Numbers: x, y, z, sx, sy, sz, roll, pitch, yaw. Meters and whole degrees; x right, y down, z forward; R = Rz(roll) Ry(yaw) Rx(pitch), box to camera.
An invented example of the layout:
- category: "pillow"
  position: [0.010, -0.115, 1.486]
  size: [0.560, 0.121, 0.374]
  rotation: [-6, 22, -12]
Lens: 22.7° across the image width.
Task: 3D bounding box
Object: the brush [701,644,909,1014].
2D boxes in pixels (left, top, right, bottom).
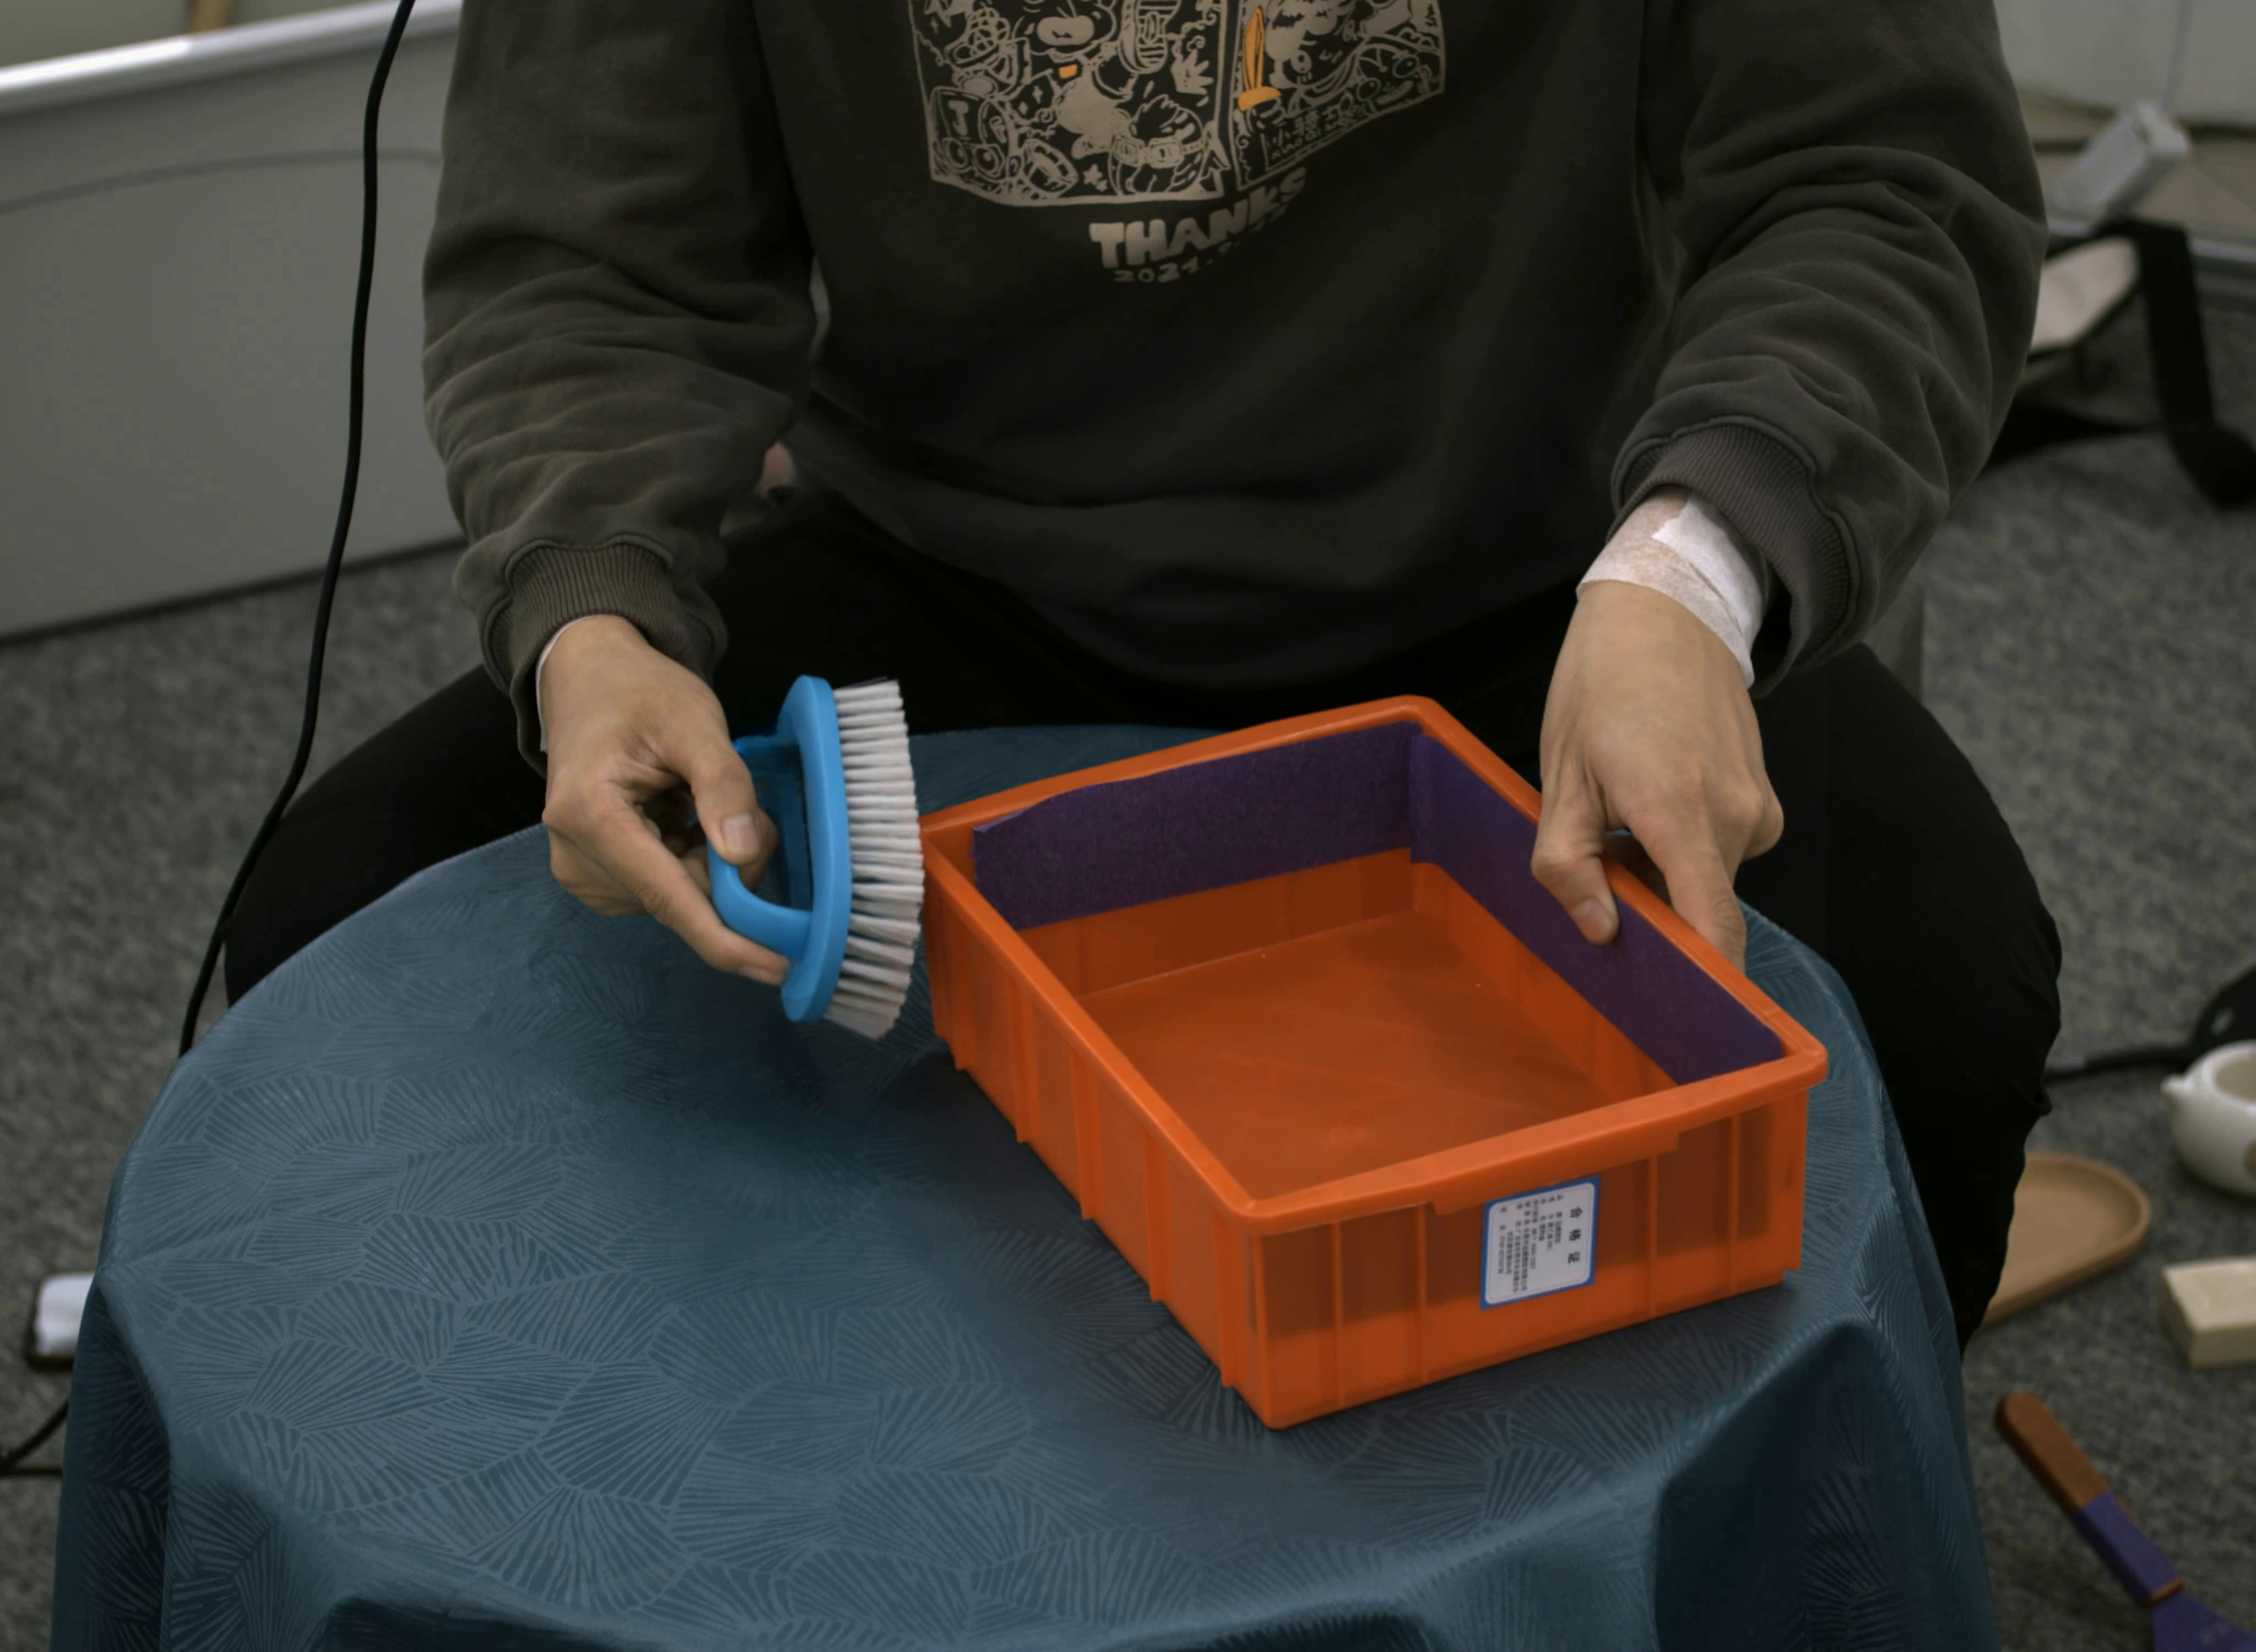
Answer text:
- category: "brush"
  position: [-0.113, 0.002, 1.913]
  size: [0.063, 0.083, 0.144]
  rotation: [4, 48, -13]

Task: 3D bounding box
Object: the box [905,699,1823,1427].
- category: "box"
  position: [0.071, 0.074, 1.853]
  size: [0.207, 0.095, 0.306]
  rotation: [-13, 30, -19]
